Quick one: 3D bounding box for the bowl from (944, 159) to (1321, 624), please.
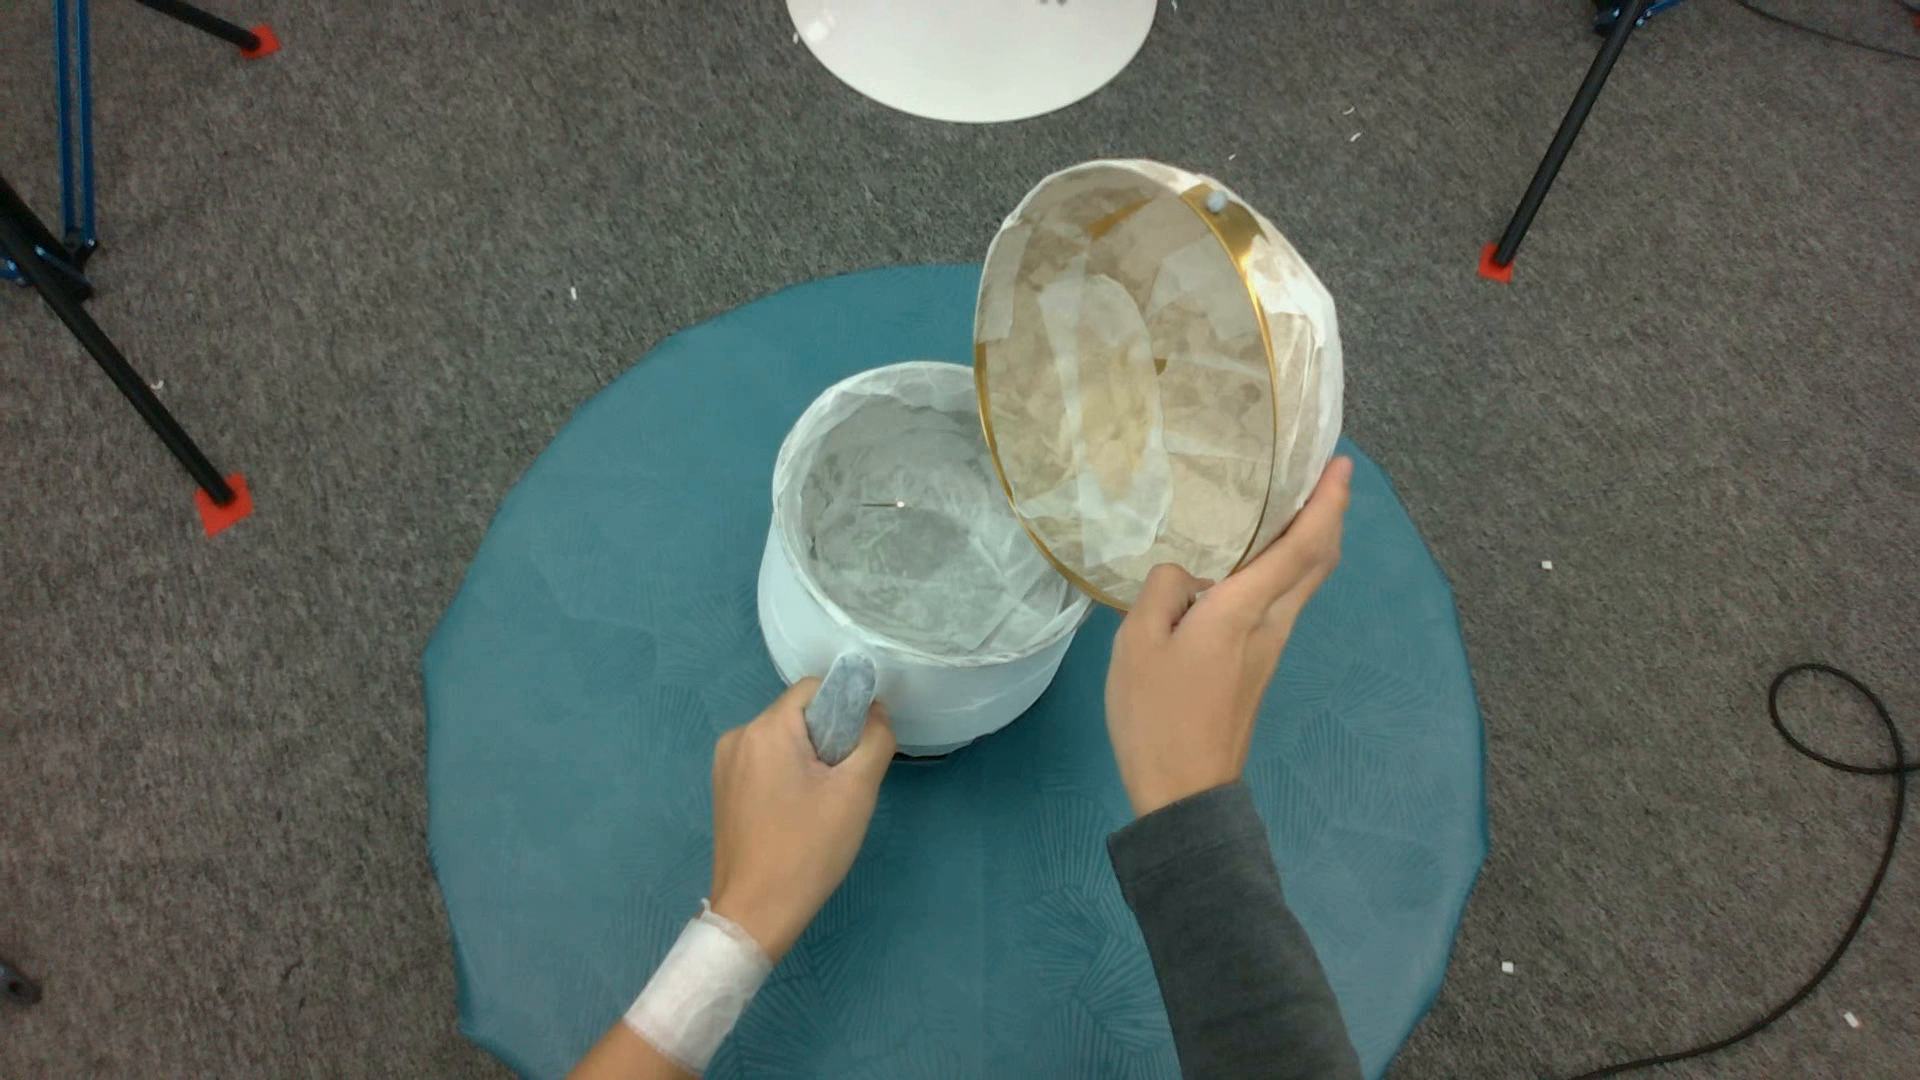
[{"bbox_3d":[0.092,-0.074,0.649,0.095,0.213,0.215,-19,63,-38],"label":"bowl"}]

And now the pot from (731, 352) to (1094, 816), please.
[{"bbox_3d":[-0.042,0.030,0.724,0.179,0.136,0.235,26,57,2],"label":"pot"}]
